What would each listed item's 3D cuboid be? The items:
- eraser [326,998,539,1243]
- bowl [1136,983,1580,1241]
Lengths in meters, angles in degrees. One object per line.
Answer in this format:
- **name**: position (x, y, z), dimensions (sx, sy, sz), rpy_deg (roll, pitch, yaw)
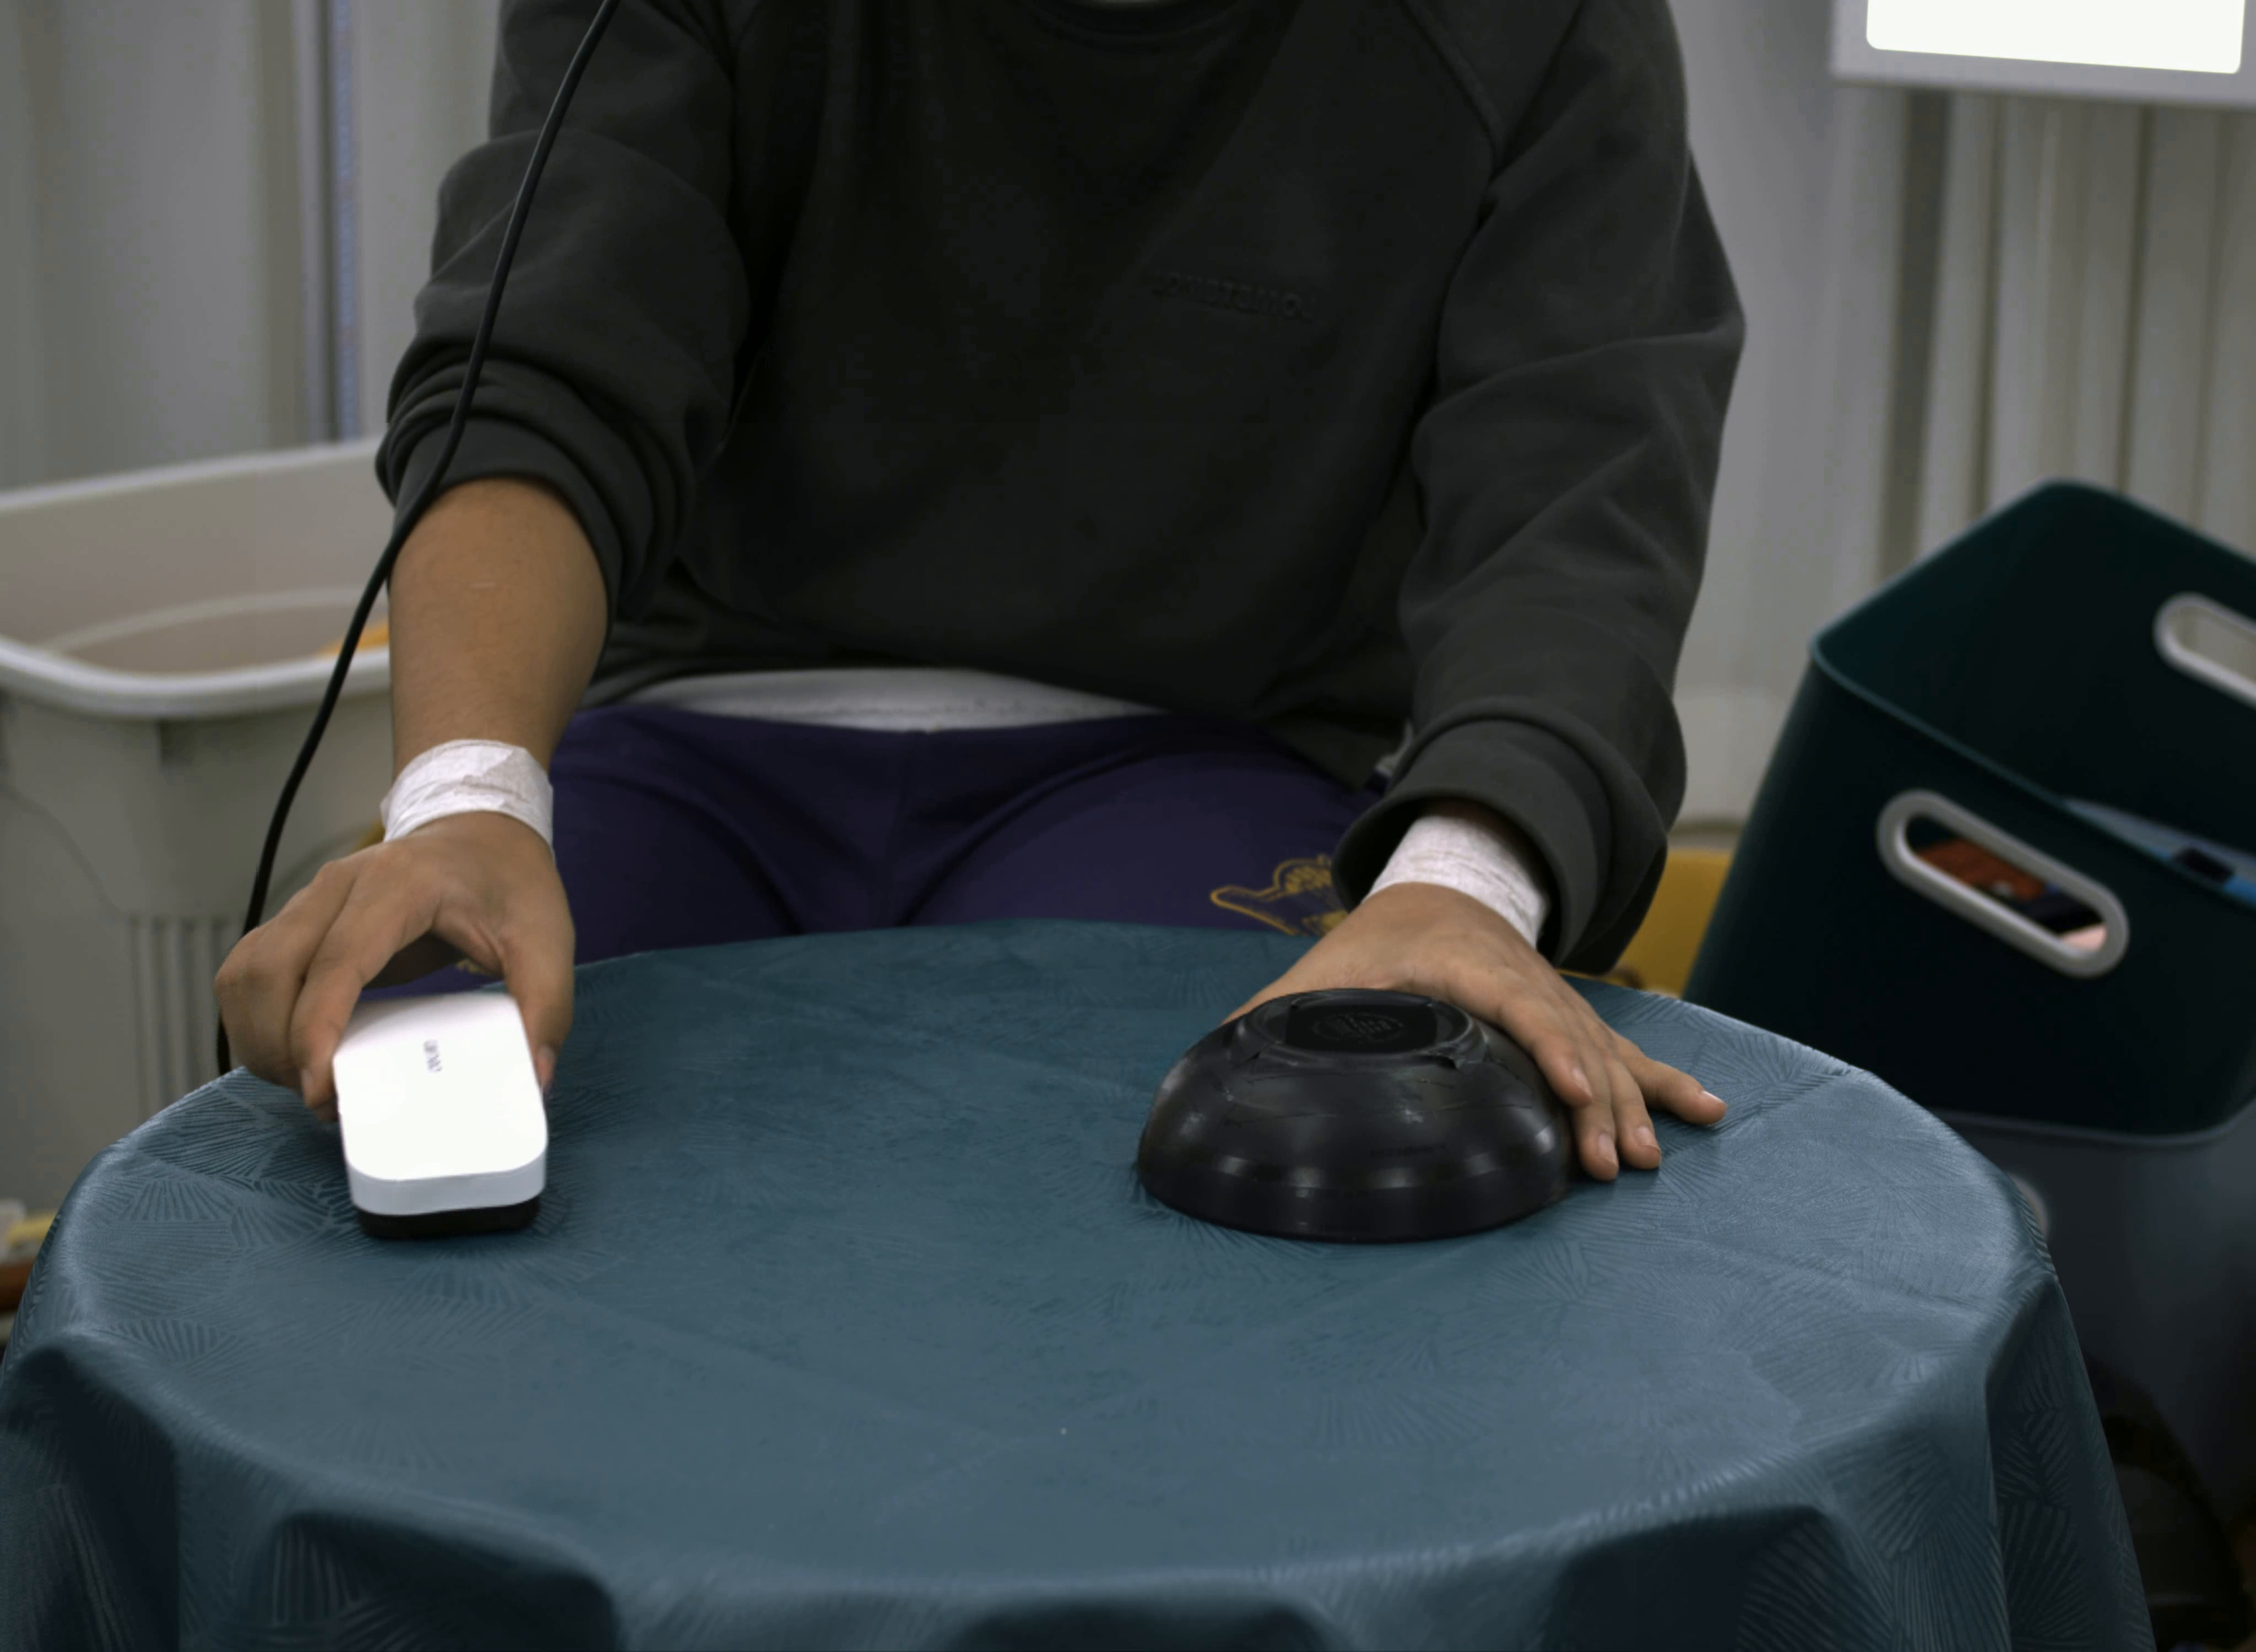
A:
- **eraser**: position (-0.214, 0.086, 1.625), dimensions (0.063, 0.035, 0.130), rpy_deg (-2, 23, -9)
- **bowl**: position (0.071, 0.082, 1.637), dimensions (0.139, 0.050, 0.139), rpy_deg (0, 17, 1)
